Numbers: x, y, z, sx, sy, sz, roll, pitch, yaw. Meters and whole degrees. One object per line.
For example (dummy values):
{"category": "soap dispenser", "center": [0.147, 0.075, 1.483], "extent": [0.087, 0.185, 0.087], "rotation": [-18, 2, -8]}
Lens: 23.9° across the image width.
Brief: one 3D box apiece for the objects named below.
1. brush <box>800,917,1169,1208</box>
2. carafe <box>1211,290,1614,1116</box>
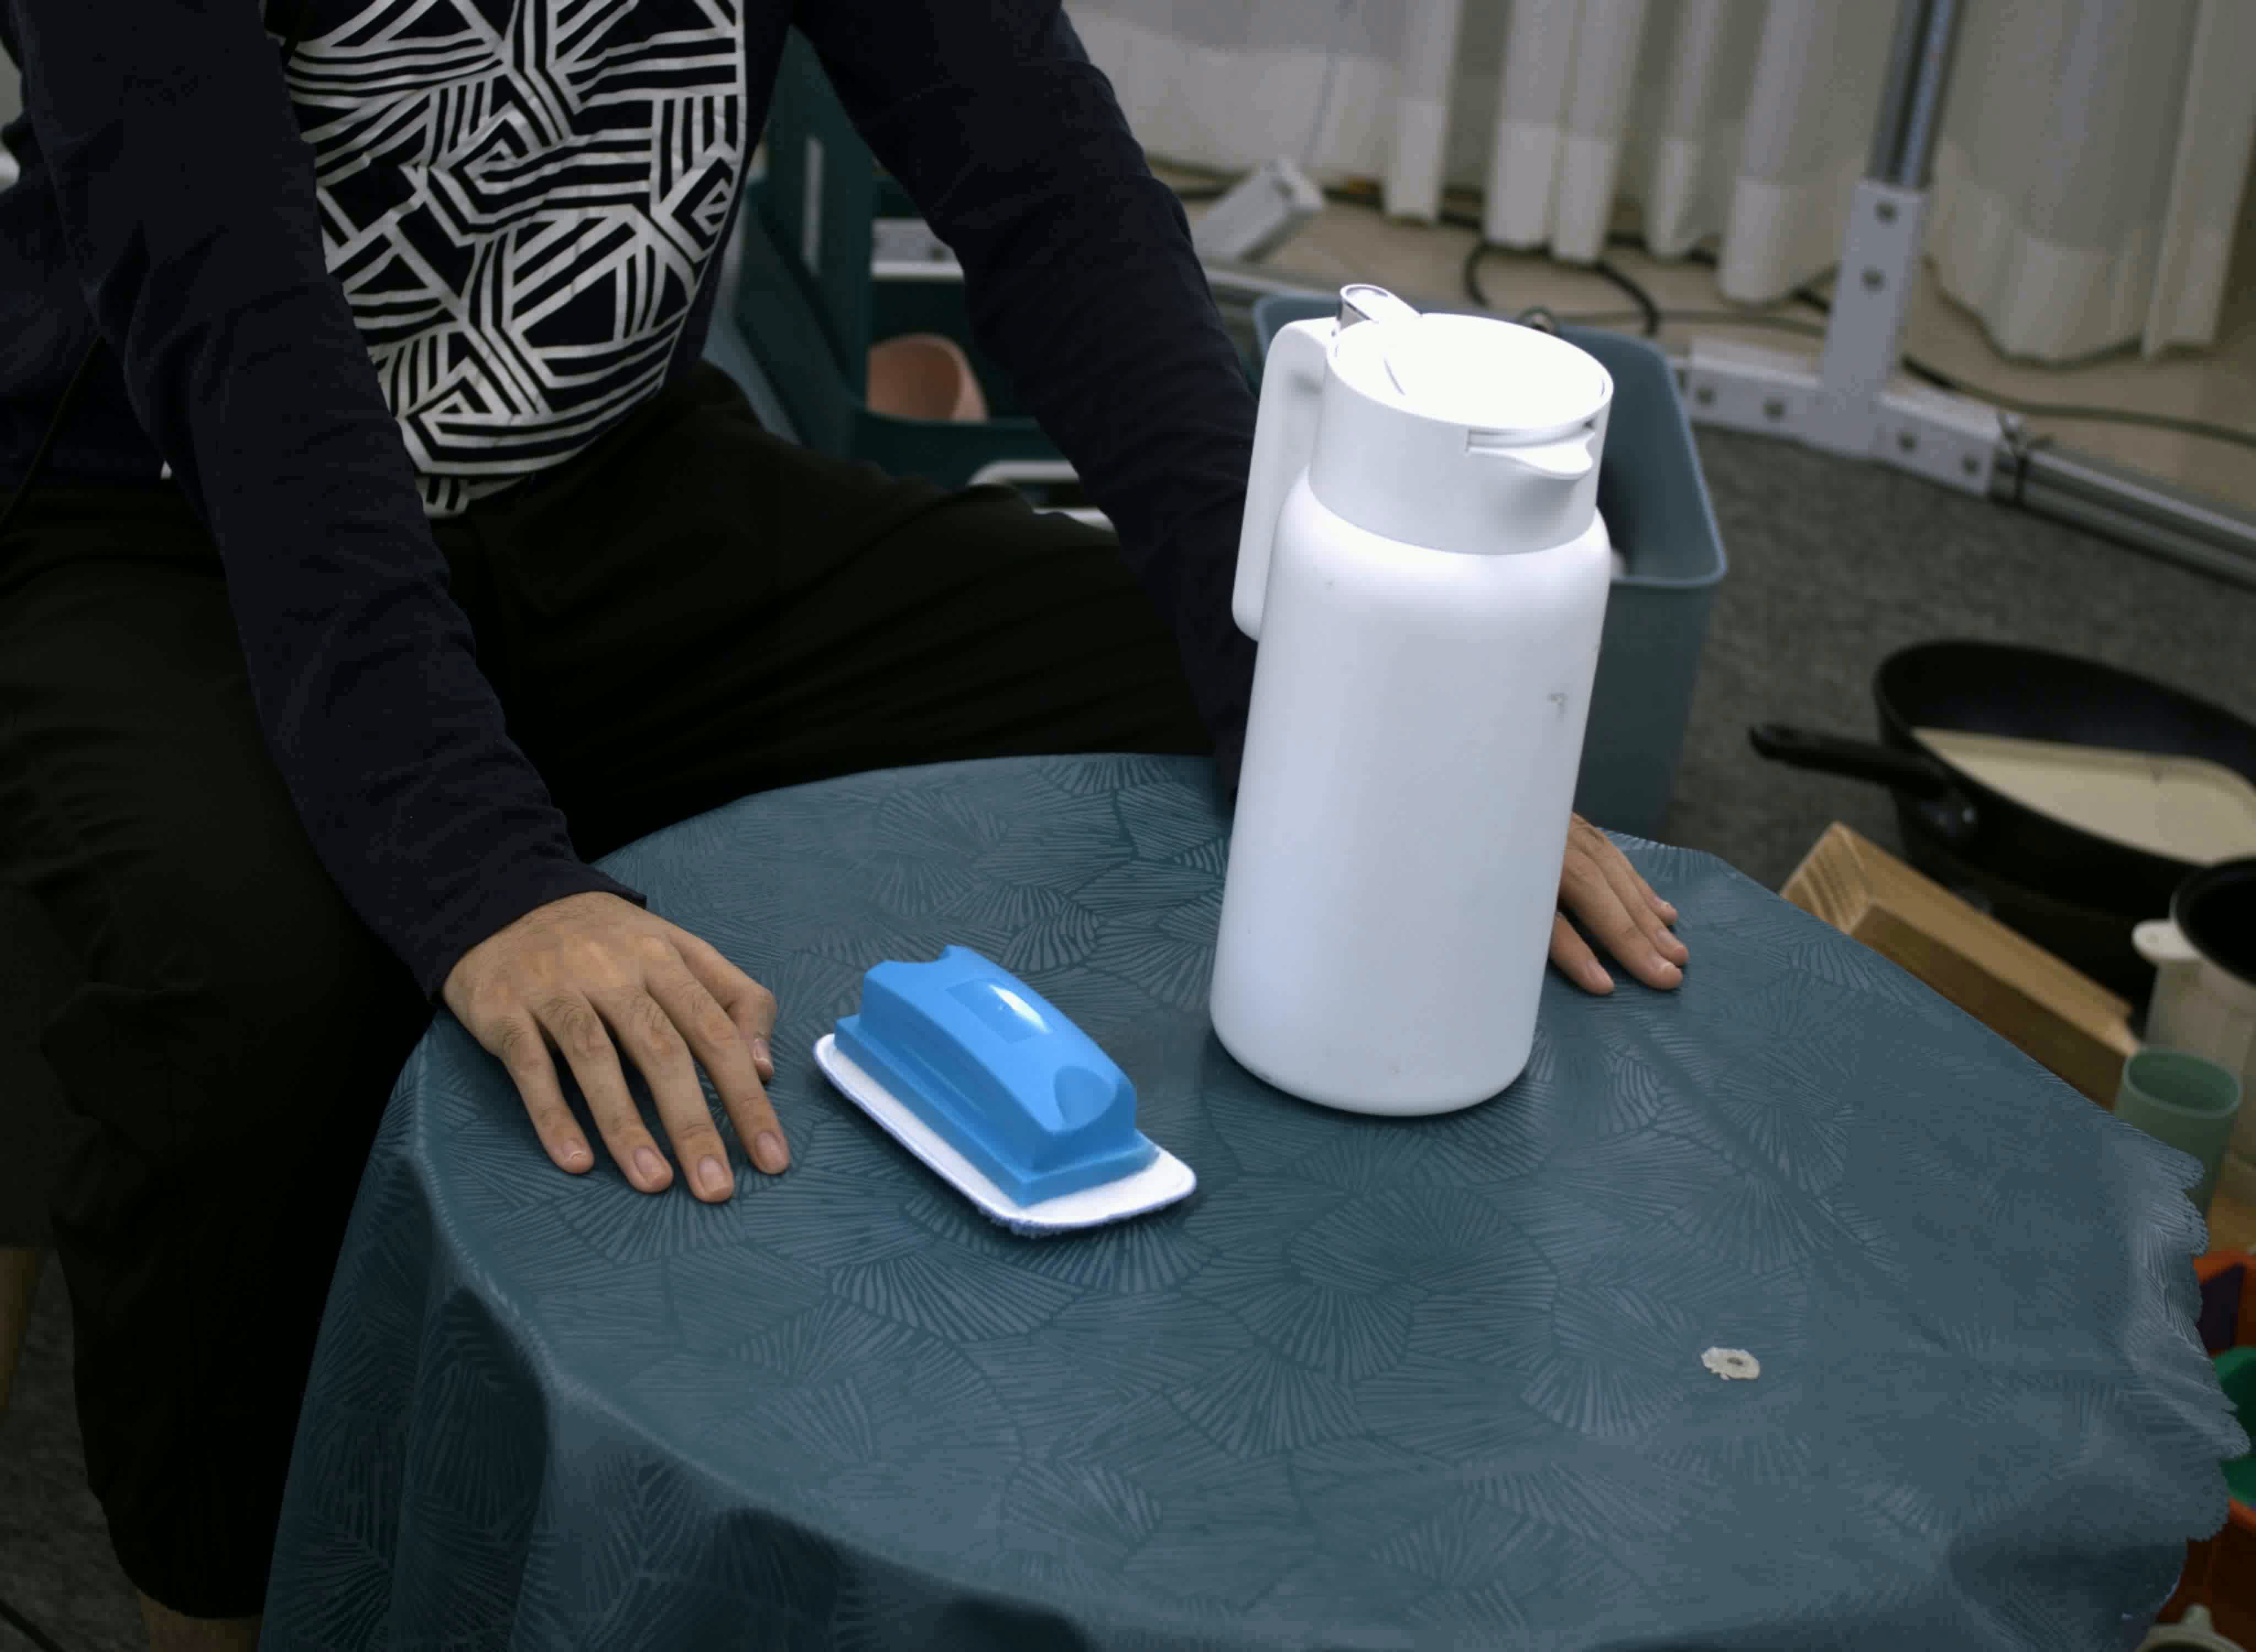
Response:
{"category": "brush", "center": [-0.047, 0.076, 1.820], "extent": [0.083, 0.056, 0.145], "rotation": [-8, 34, -33]}
{"category": "carafe", "center": [0.091, -0.046, 1.868], "extent": [0.123, 0.268, 0.174], "rotation": [-11, 31, -29]}
